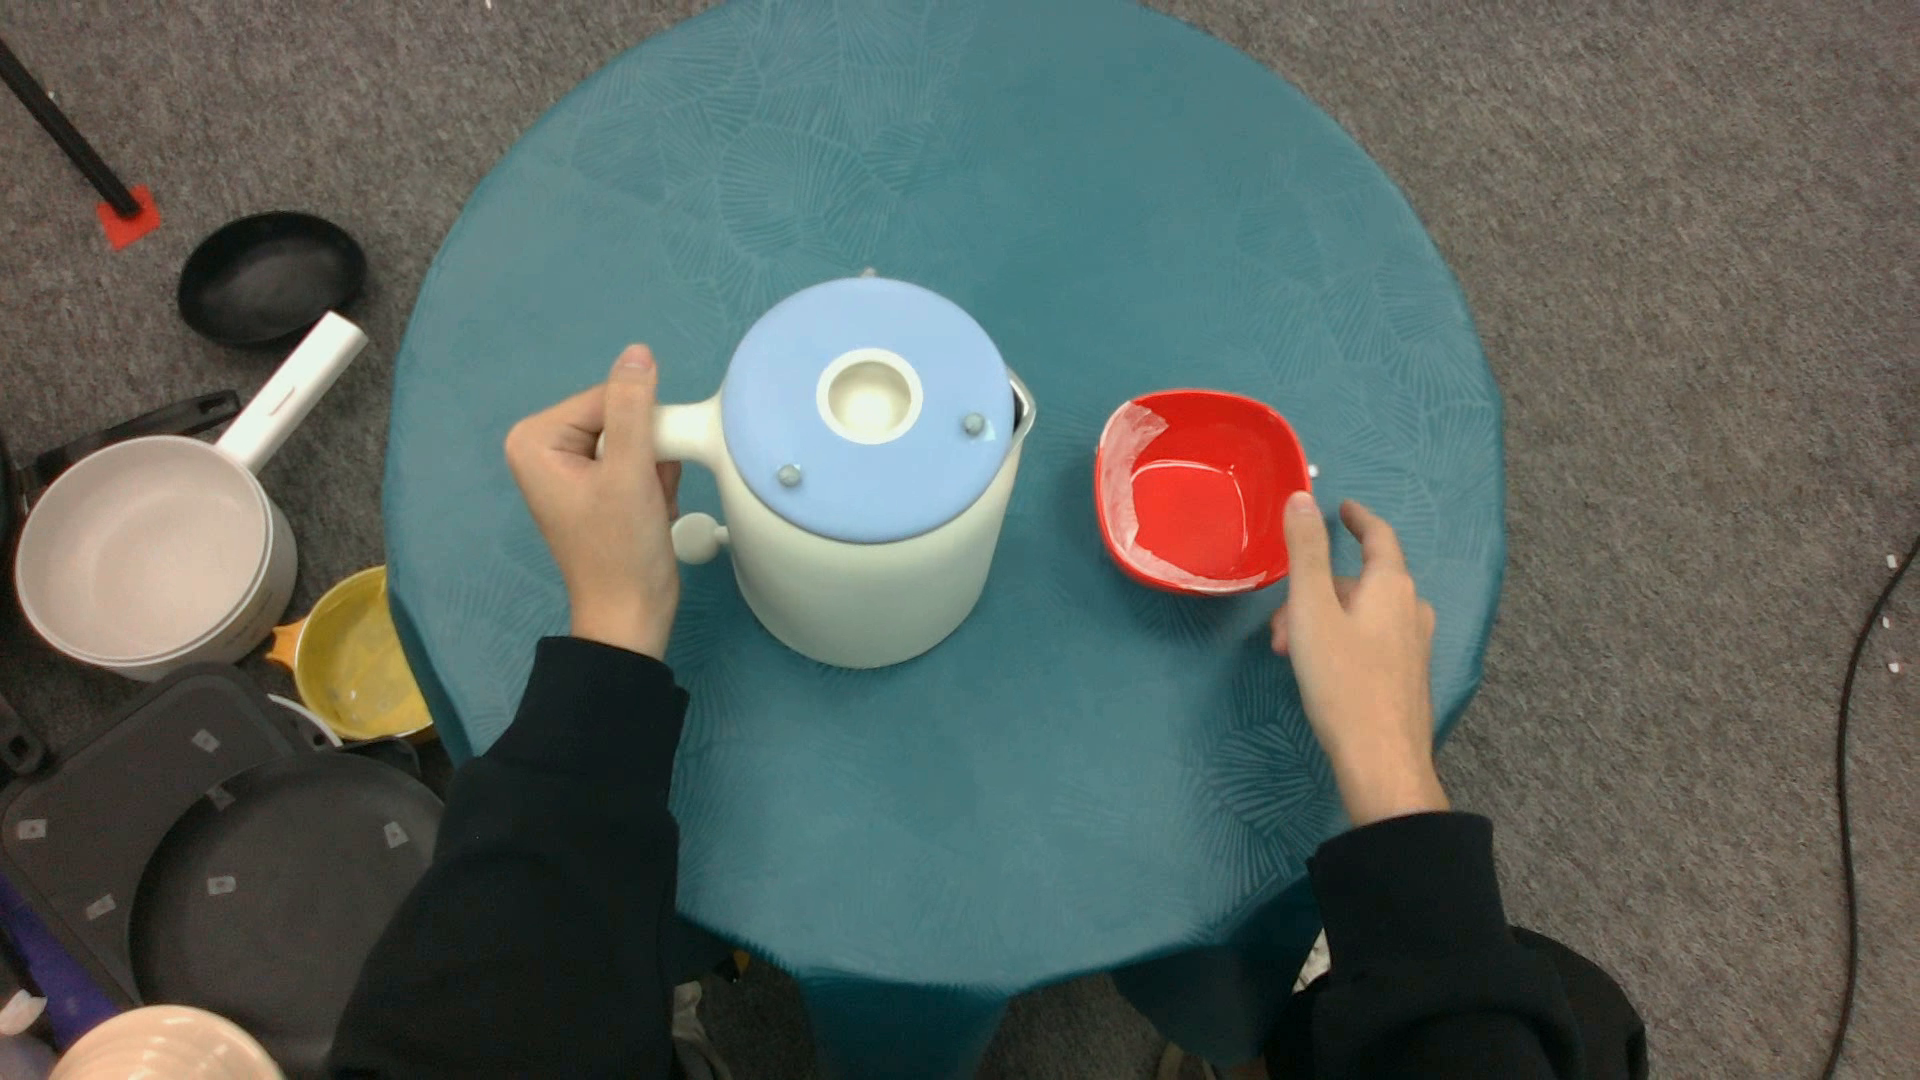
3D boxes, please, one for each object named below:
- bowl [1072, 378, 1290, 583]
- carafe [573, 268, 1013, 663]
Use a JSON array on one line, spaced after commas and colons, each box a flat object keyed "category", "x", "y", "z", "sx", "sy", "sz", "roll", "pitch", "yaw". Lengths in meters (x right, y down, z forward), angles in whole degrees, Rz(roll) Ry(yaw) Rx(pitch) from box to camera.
[{"category": "bowl", "x": 0.108, "y": -0.023, "z": 0.707, "sx": 0.119, "sy": 0.051, "sz": 0.119, "roll": 3, "pitch": 66, "yaw": -6}, {"category": "carafe", "x": -0.077, "y": -0.027, "z": 0.627, "sx": 0.191, "sy": 0.182, "sz": 0.132, "roll": -4, "pitch": 68, "yaw": -5}]
